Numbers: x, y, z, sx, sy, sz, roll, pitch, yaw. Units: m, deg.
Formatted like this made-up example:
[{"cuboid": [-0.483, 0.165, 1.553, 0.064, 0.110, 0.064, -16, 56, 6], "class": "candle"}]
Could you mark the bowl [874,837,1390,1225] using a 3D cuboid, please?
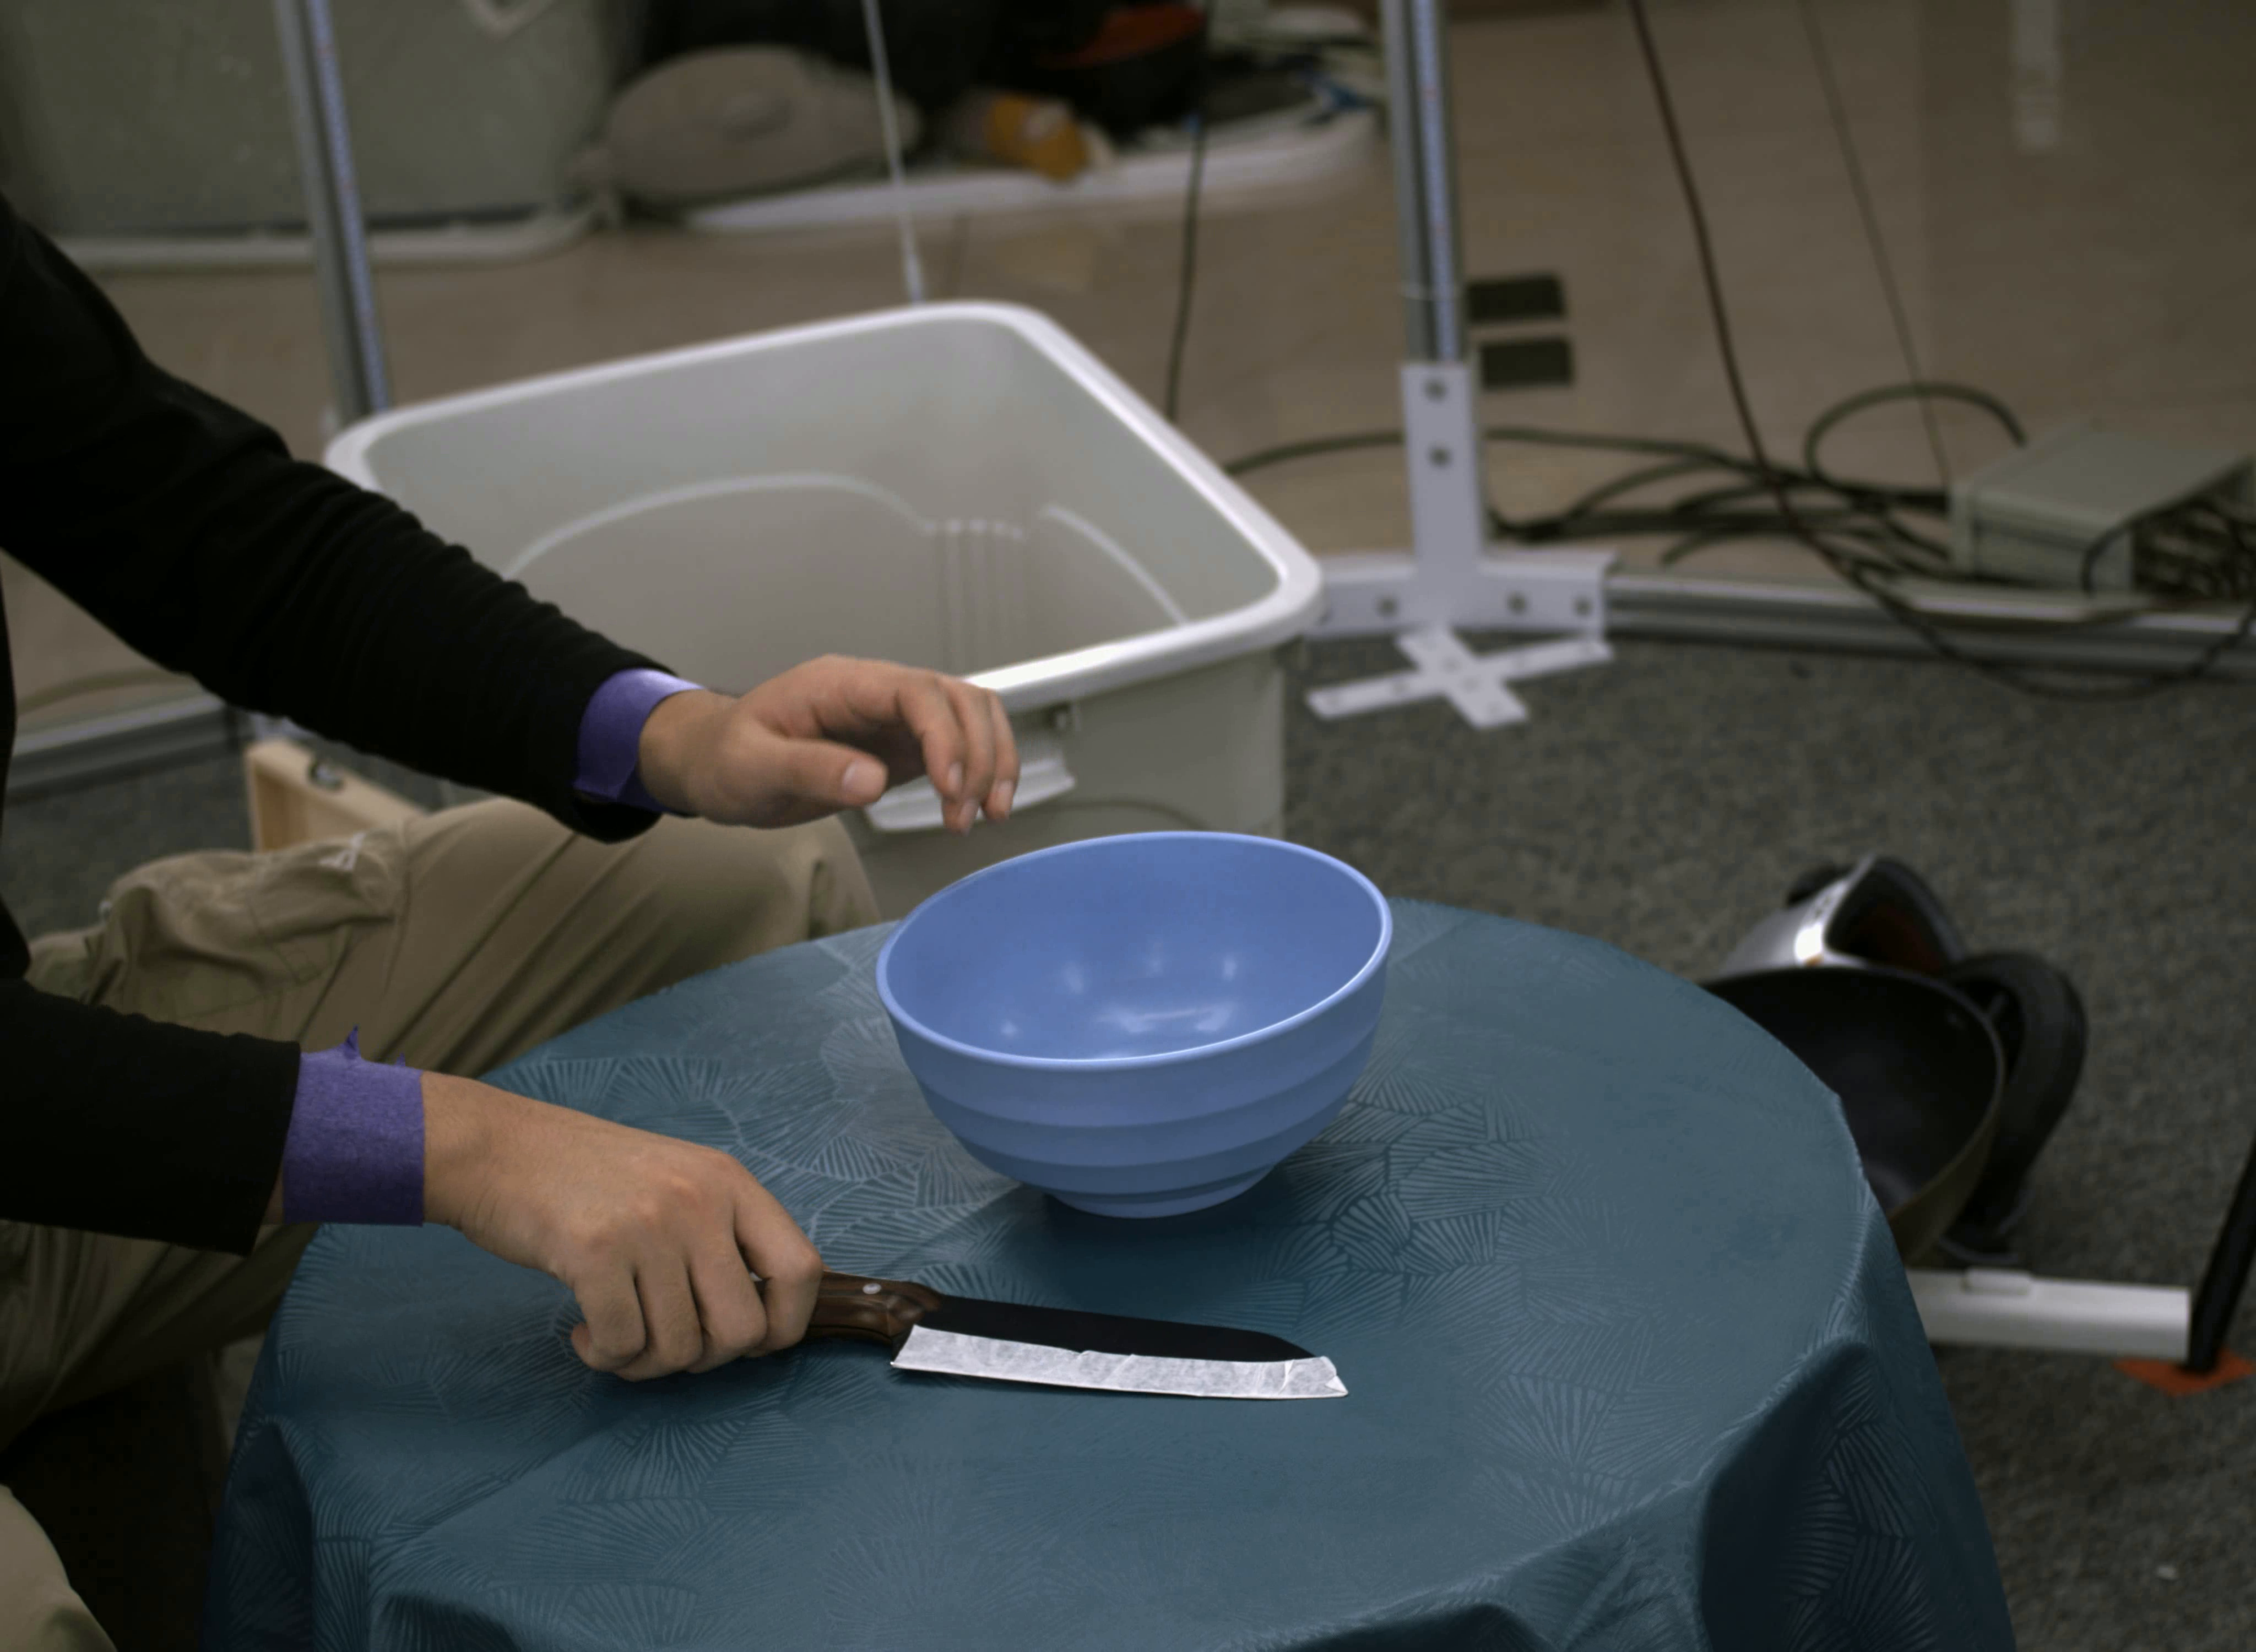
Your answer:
[{"cuboid": [0.007, 0.088, 2.150, 0.196, 0.097, 0.193, -7, 25, 3], "class": "bowl"}]

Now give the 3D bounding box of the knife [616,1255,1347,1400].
[{"cuboid": [-0.057, 0.183, 2.052, 0.288, 0.020, 0.049, 6, 35, 20], "class": "knife"}]
